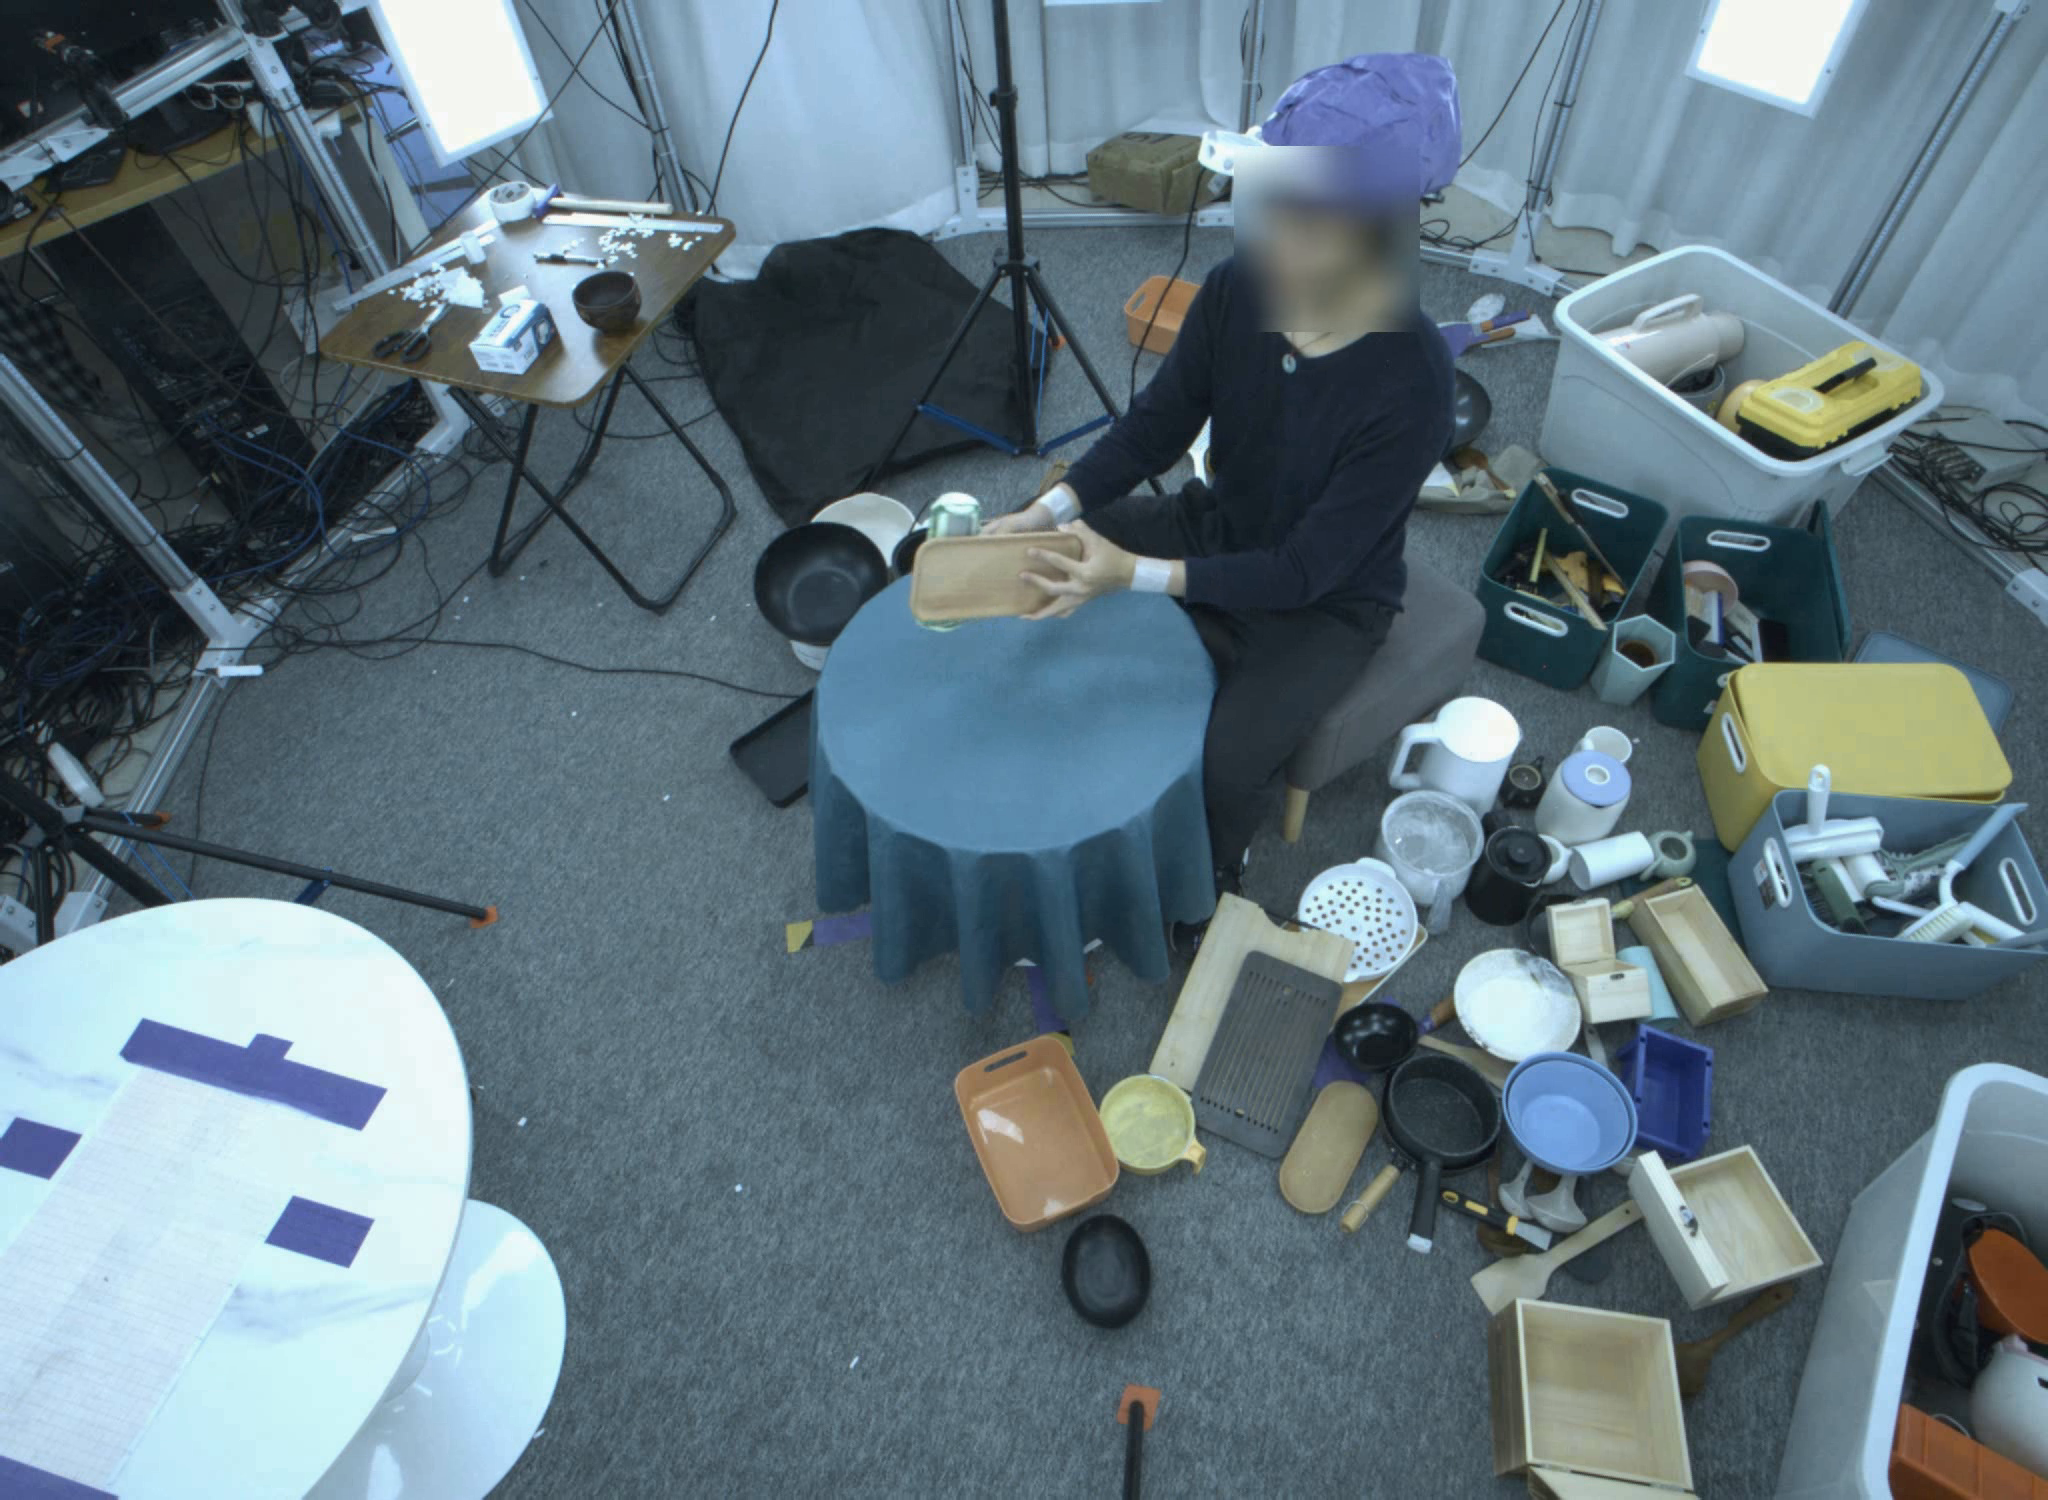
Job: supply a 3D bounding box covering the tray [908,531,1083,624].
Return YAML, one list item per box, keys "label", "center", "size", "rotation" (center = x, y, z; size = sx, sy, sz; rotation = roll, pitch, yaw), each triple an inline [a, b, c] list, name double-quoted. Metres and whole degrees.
- label: "tray"
  center: [-0.039, -0.240, 1.689]
  size: [0.255, 0.131, 0.022]
  rotation: [-8, 42, -26]

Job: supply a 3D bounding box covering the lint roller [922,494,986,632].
- label: "lint roller"
  center: [-0.066, -0.279, 1.727]
  size: [0.080, 0.199, 0.186]
  rotation: [34, 42, 28]
